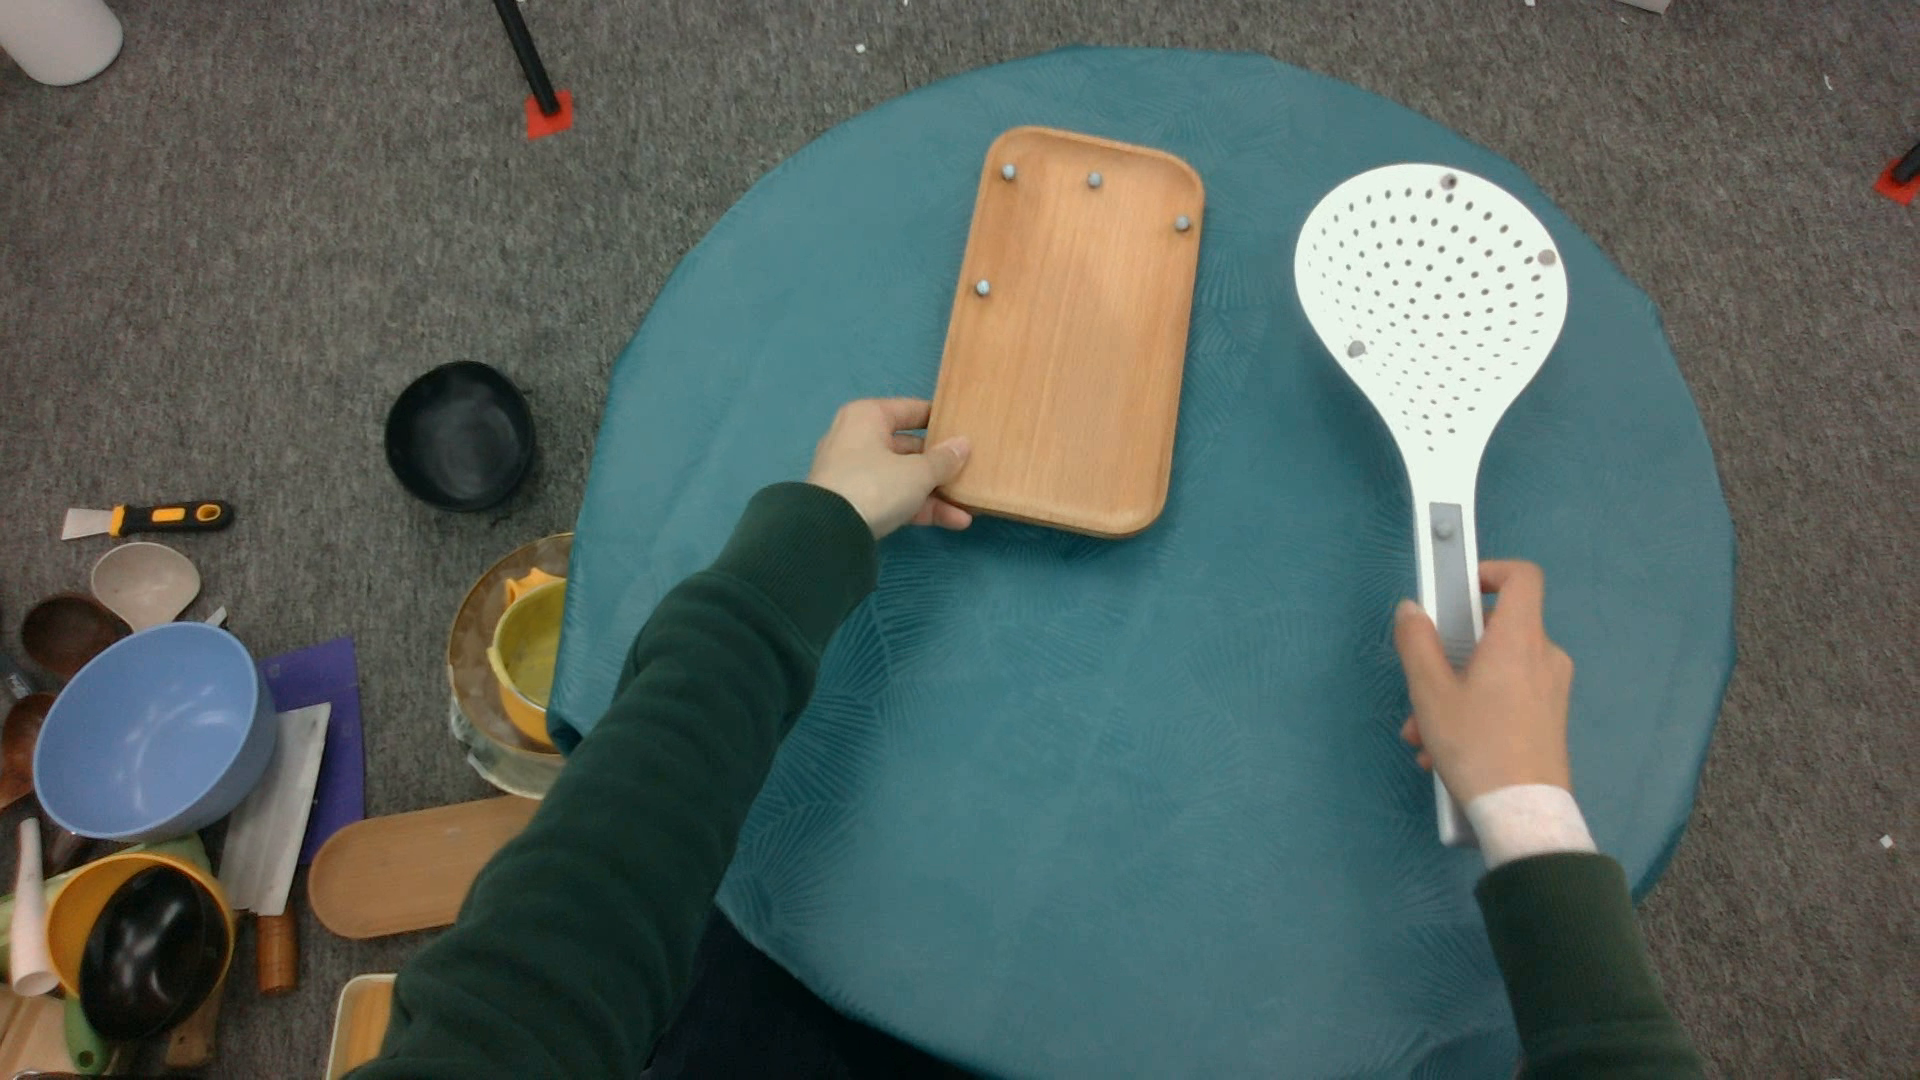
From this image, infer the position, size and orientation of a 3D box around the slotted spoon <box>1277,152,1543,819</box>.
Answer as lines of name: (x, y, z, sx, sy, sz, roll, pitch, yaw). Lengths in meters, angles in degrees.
slotted spoon: (0.223, -0.040, 0.669, 0.136, 0.045, 0.351, 4, 63, 1)

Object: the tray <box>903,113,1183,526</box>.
tray: (0.049, -0.125, 0.744, 0.130, 0.023, 0.251, 11, 64, 0)
